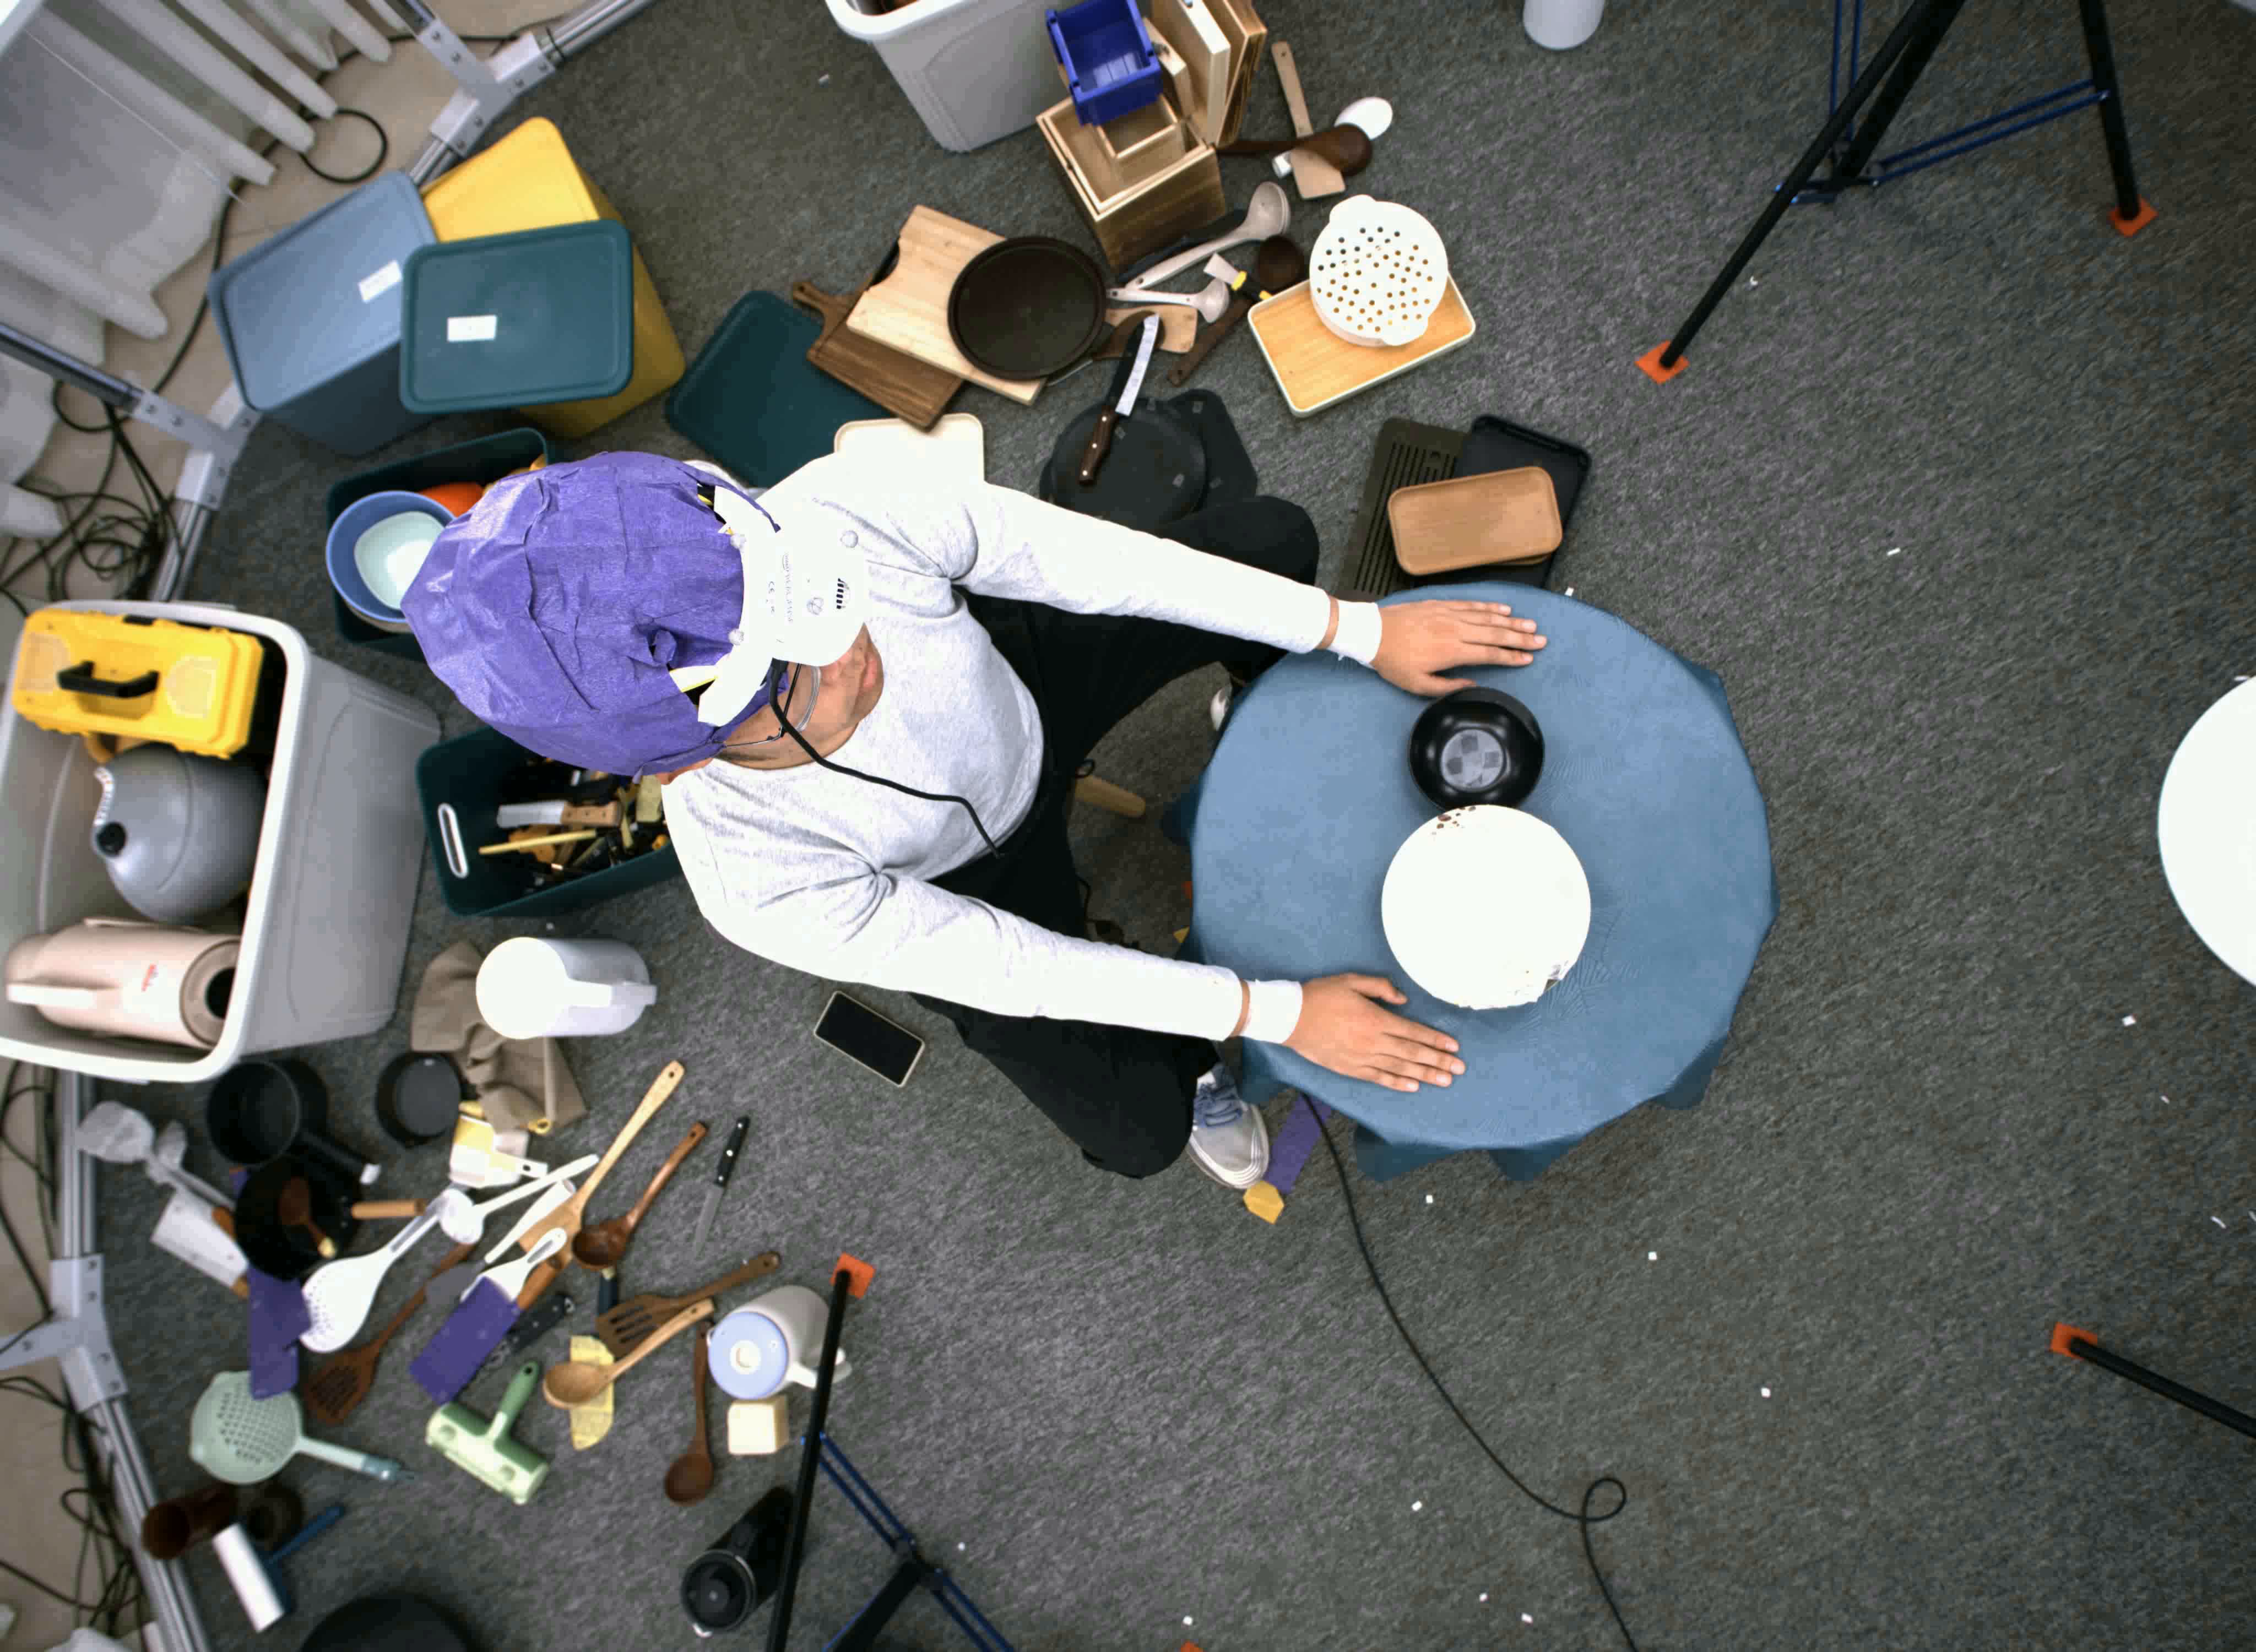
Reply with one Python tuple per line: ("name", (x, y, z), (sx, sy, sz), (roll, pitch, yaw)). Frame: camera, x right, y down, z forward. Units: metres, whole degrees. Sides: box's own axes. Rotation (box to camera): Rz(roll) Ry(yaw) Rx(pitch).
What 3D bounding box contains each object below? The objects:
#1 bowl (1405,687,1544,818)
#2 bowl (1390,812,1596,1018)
("bowl", (0.361, -0.074, 1.429), (0.141, 0.050, 0.139), (-2, 83, 15))
("bowl", (0.362, 0.089, 1.391), (0.204, 0.078, 0.203), (0, 85, 3))
